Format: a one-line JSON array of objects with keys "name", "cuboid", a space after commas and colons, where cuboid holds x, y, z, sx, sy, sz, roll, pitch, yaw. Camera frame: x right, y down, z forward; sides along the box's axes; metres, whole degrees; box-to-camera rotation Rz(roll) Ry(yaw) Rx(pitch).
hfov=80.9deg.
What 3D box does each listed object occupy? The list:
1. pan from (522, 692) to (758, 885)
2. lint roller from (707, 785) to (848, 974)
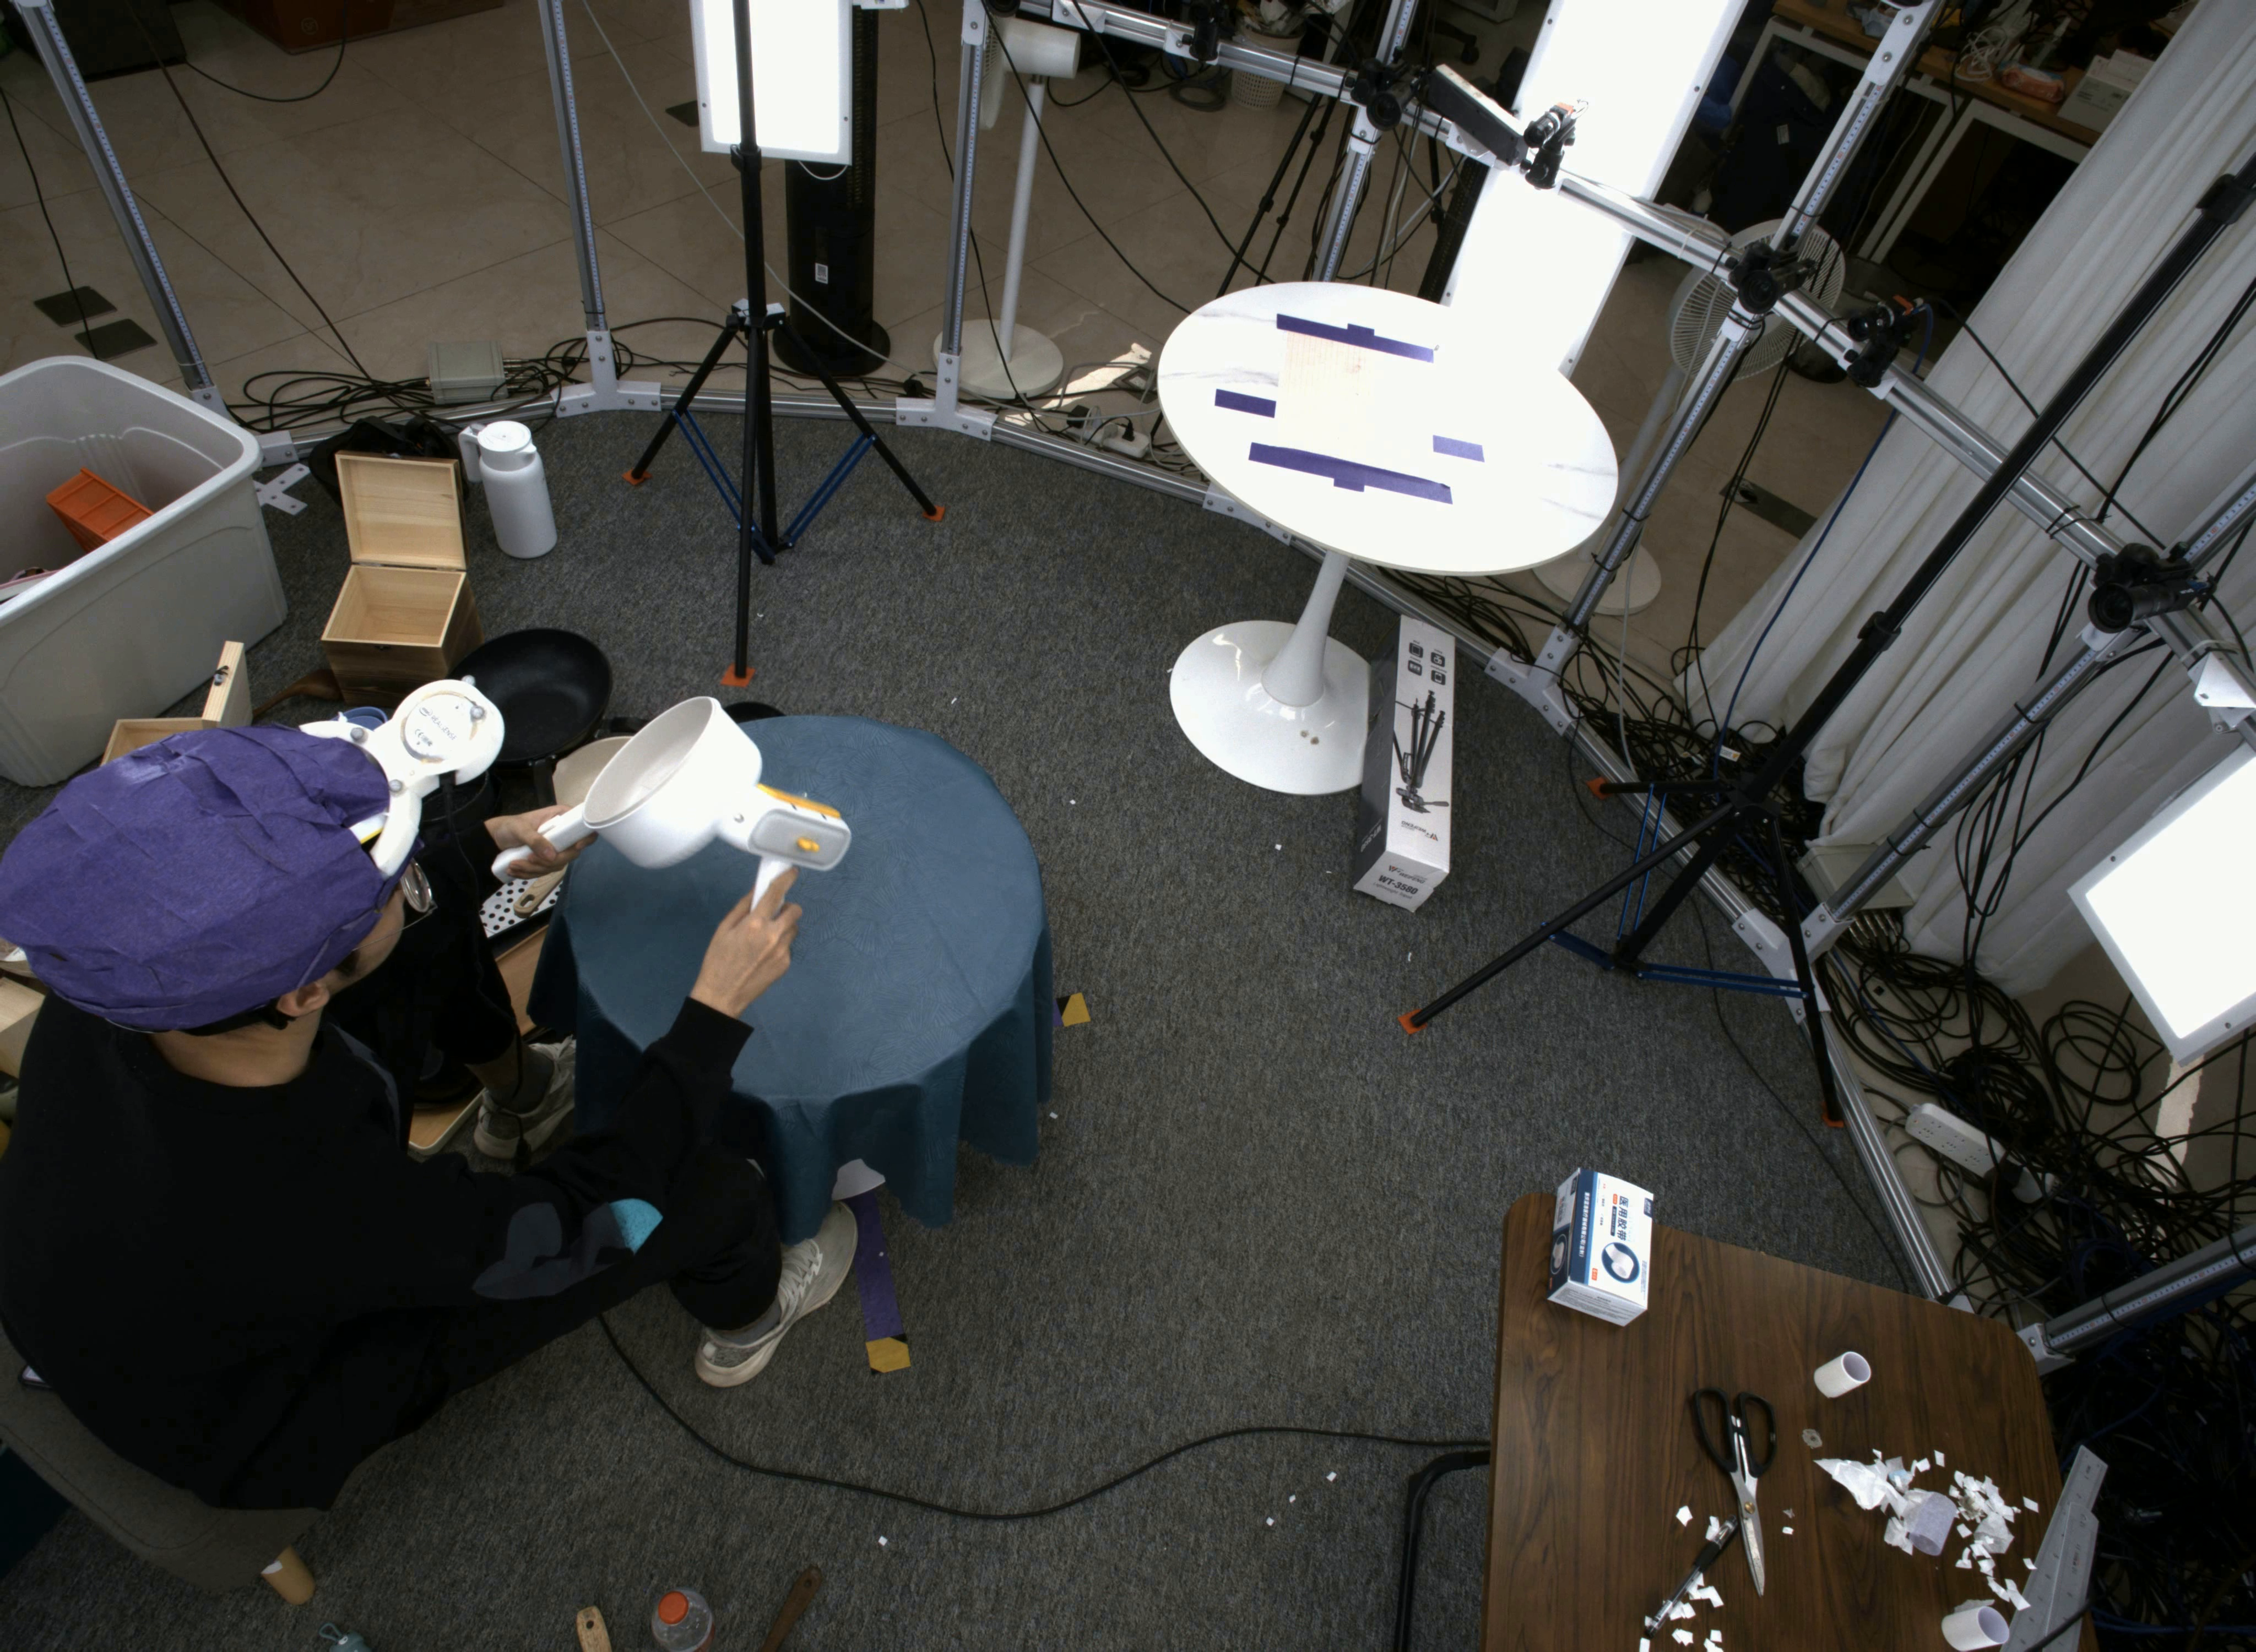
[{"name": "pan", "cuboid": [-0.581, -0.012, 1.490, 0.351, 0.106, 0.196, -29, 35, 15]}, {"name": "lint roller", "cuboid": [-0.387, 0.059, 1.394, 0.072, 0.196, 0.194, 22, 93, 17]}]
